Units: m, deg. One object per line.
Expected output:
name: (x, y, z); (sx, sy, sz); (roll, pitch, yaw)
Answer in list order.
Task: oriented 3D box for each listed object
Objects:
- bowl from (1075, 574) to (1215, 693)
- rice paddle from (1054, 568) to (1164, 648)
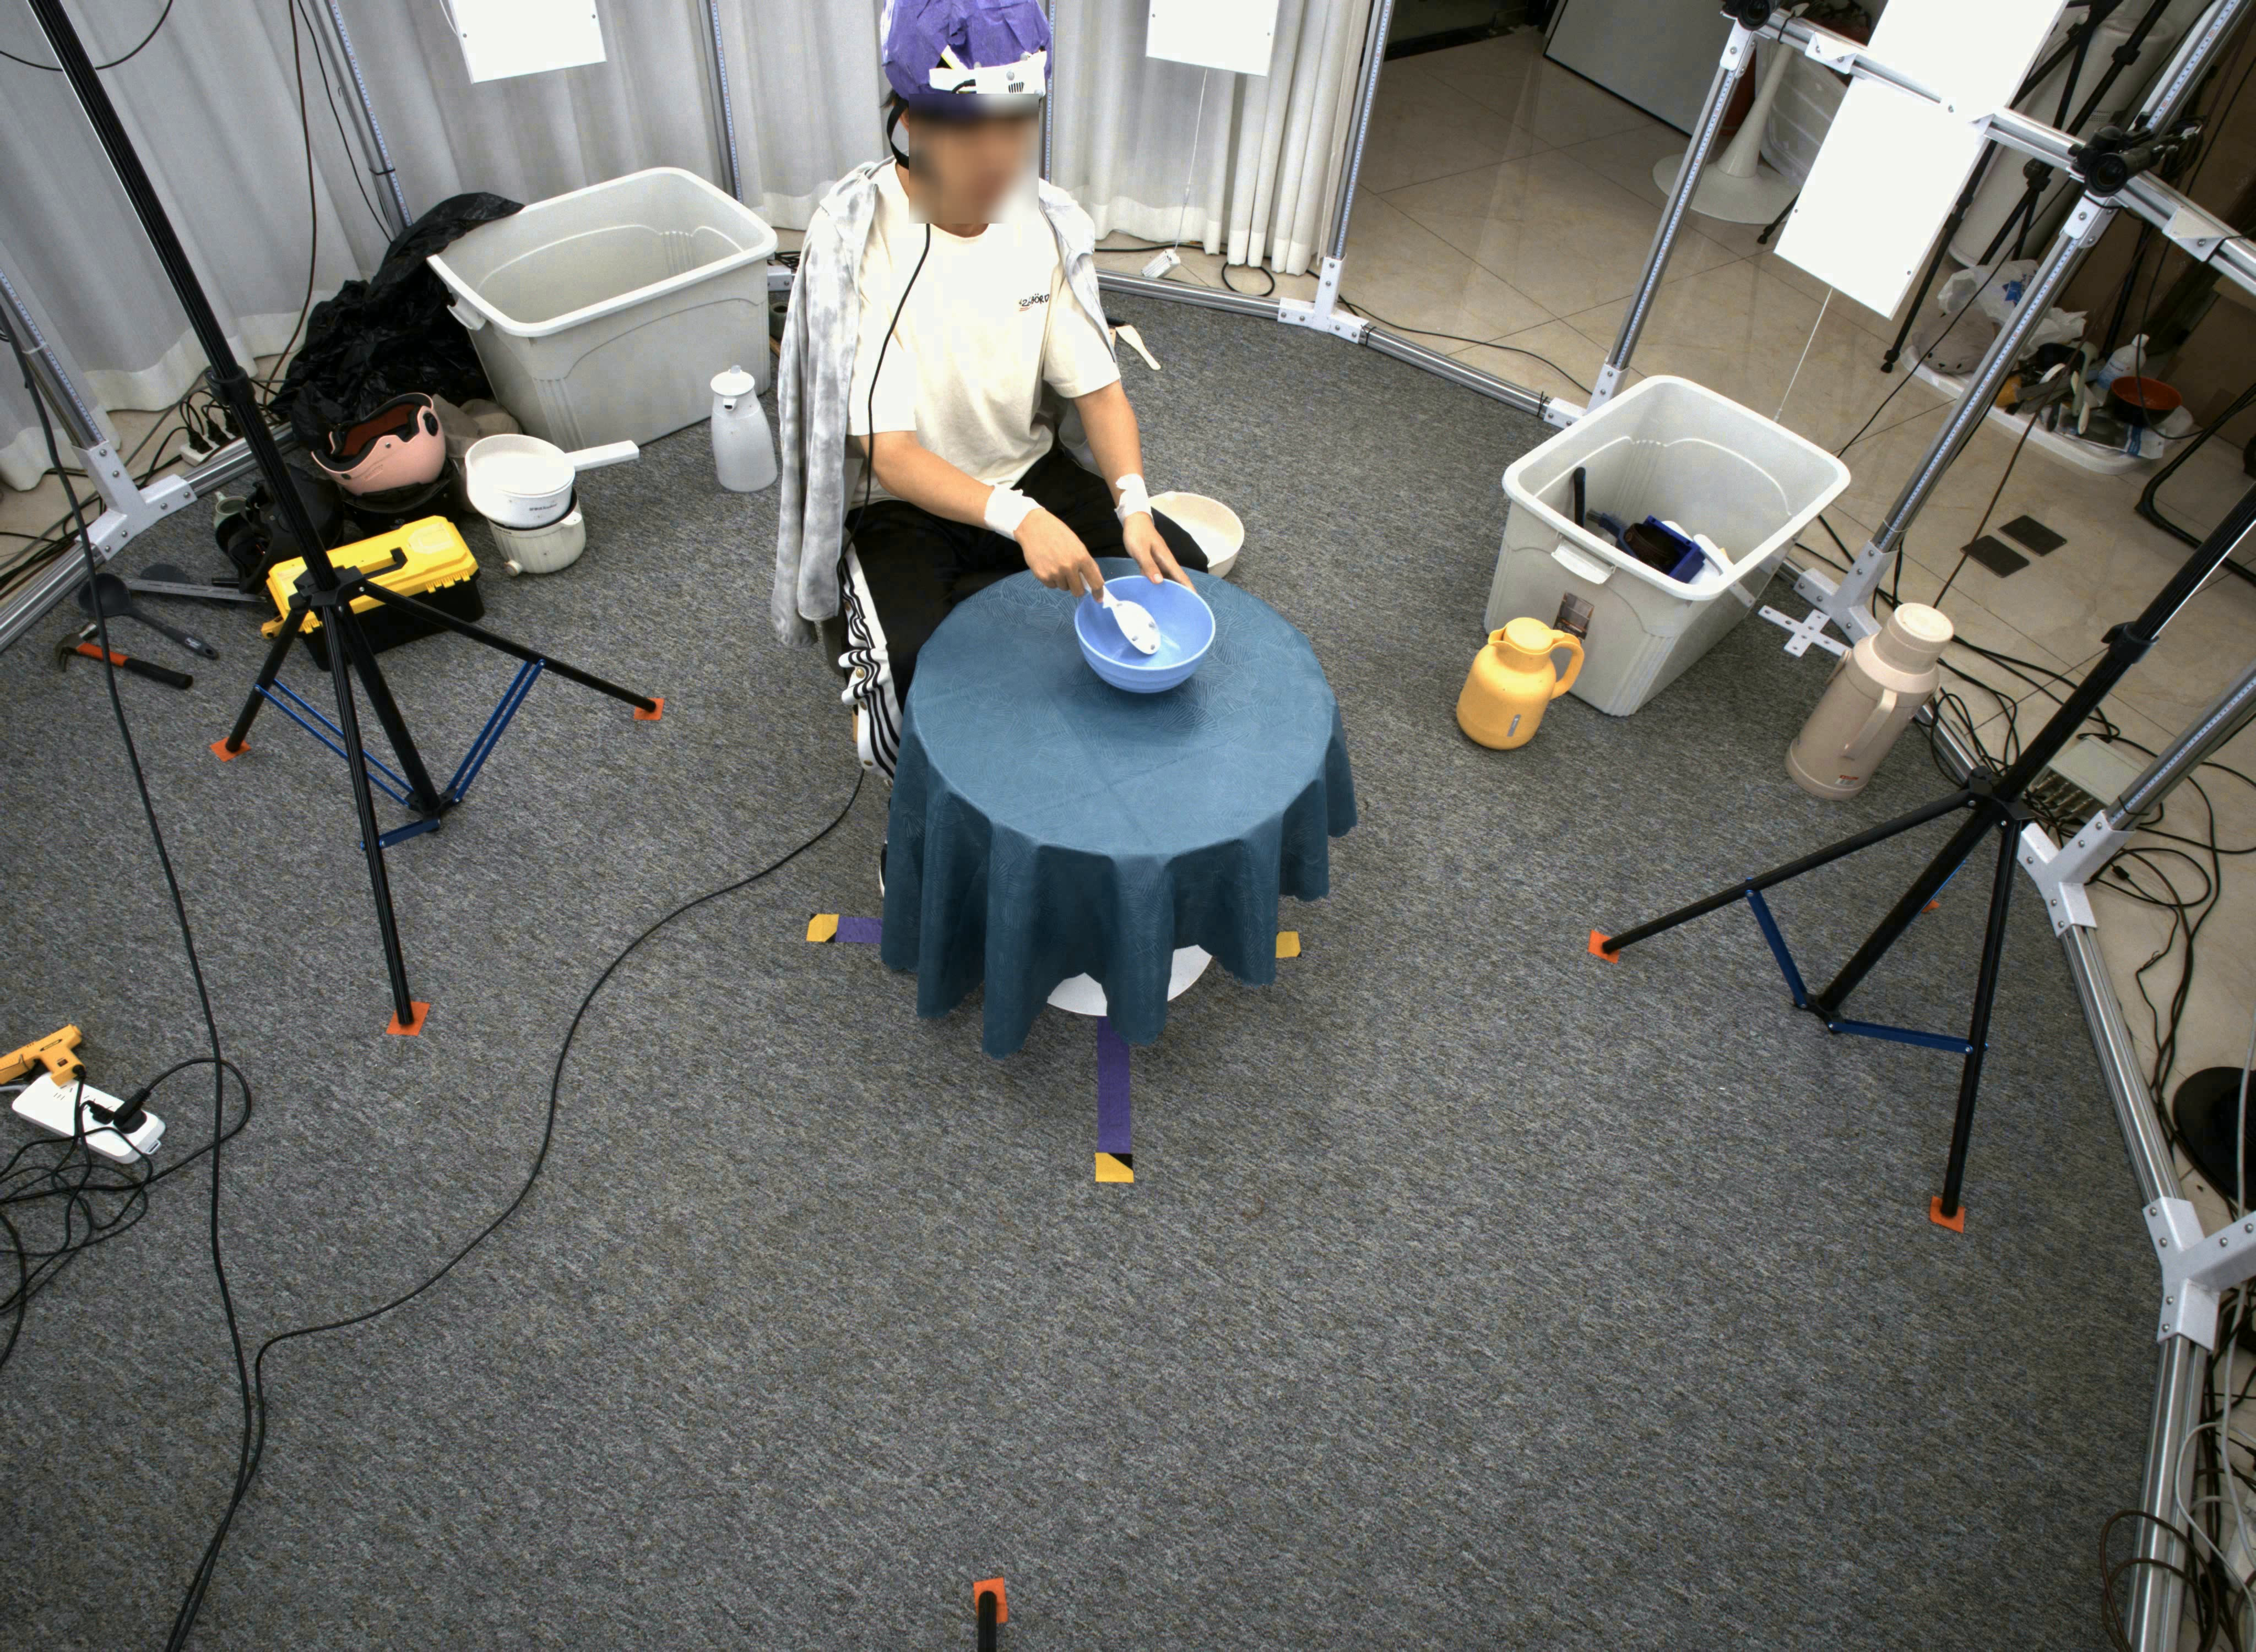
bowl: (0.022, -0.259, 1.824); (0.196, 0.093, 0.201); (2, 51, -3)
rice paddle: (-0.019, -0.310, 1.831); (0.202, 0.029, 0.070); (24, 46, -37)
